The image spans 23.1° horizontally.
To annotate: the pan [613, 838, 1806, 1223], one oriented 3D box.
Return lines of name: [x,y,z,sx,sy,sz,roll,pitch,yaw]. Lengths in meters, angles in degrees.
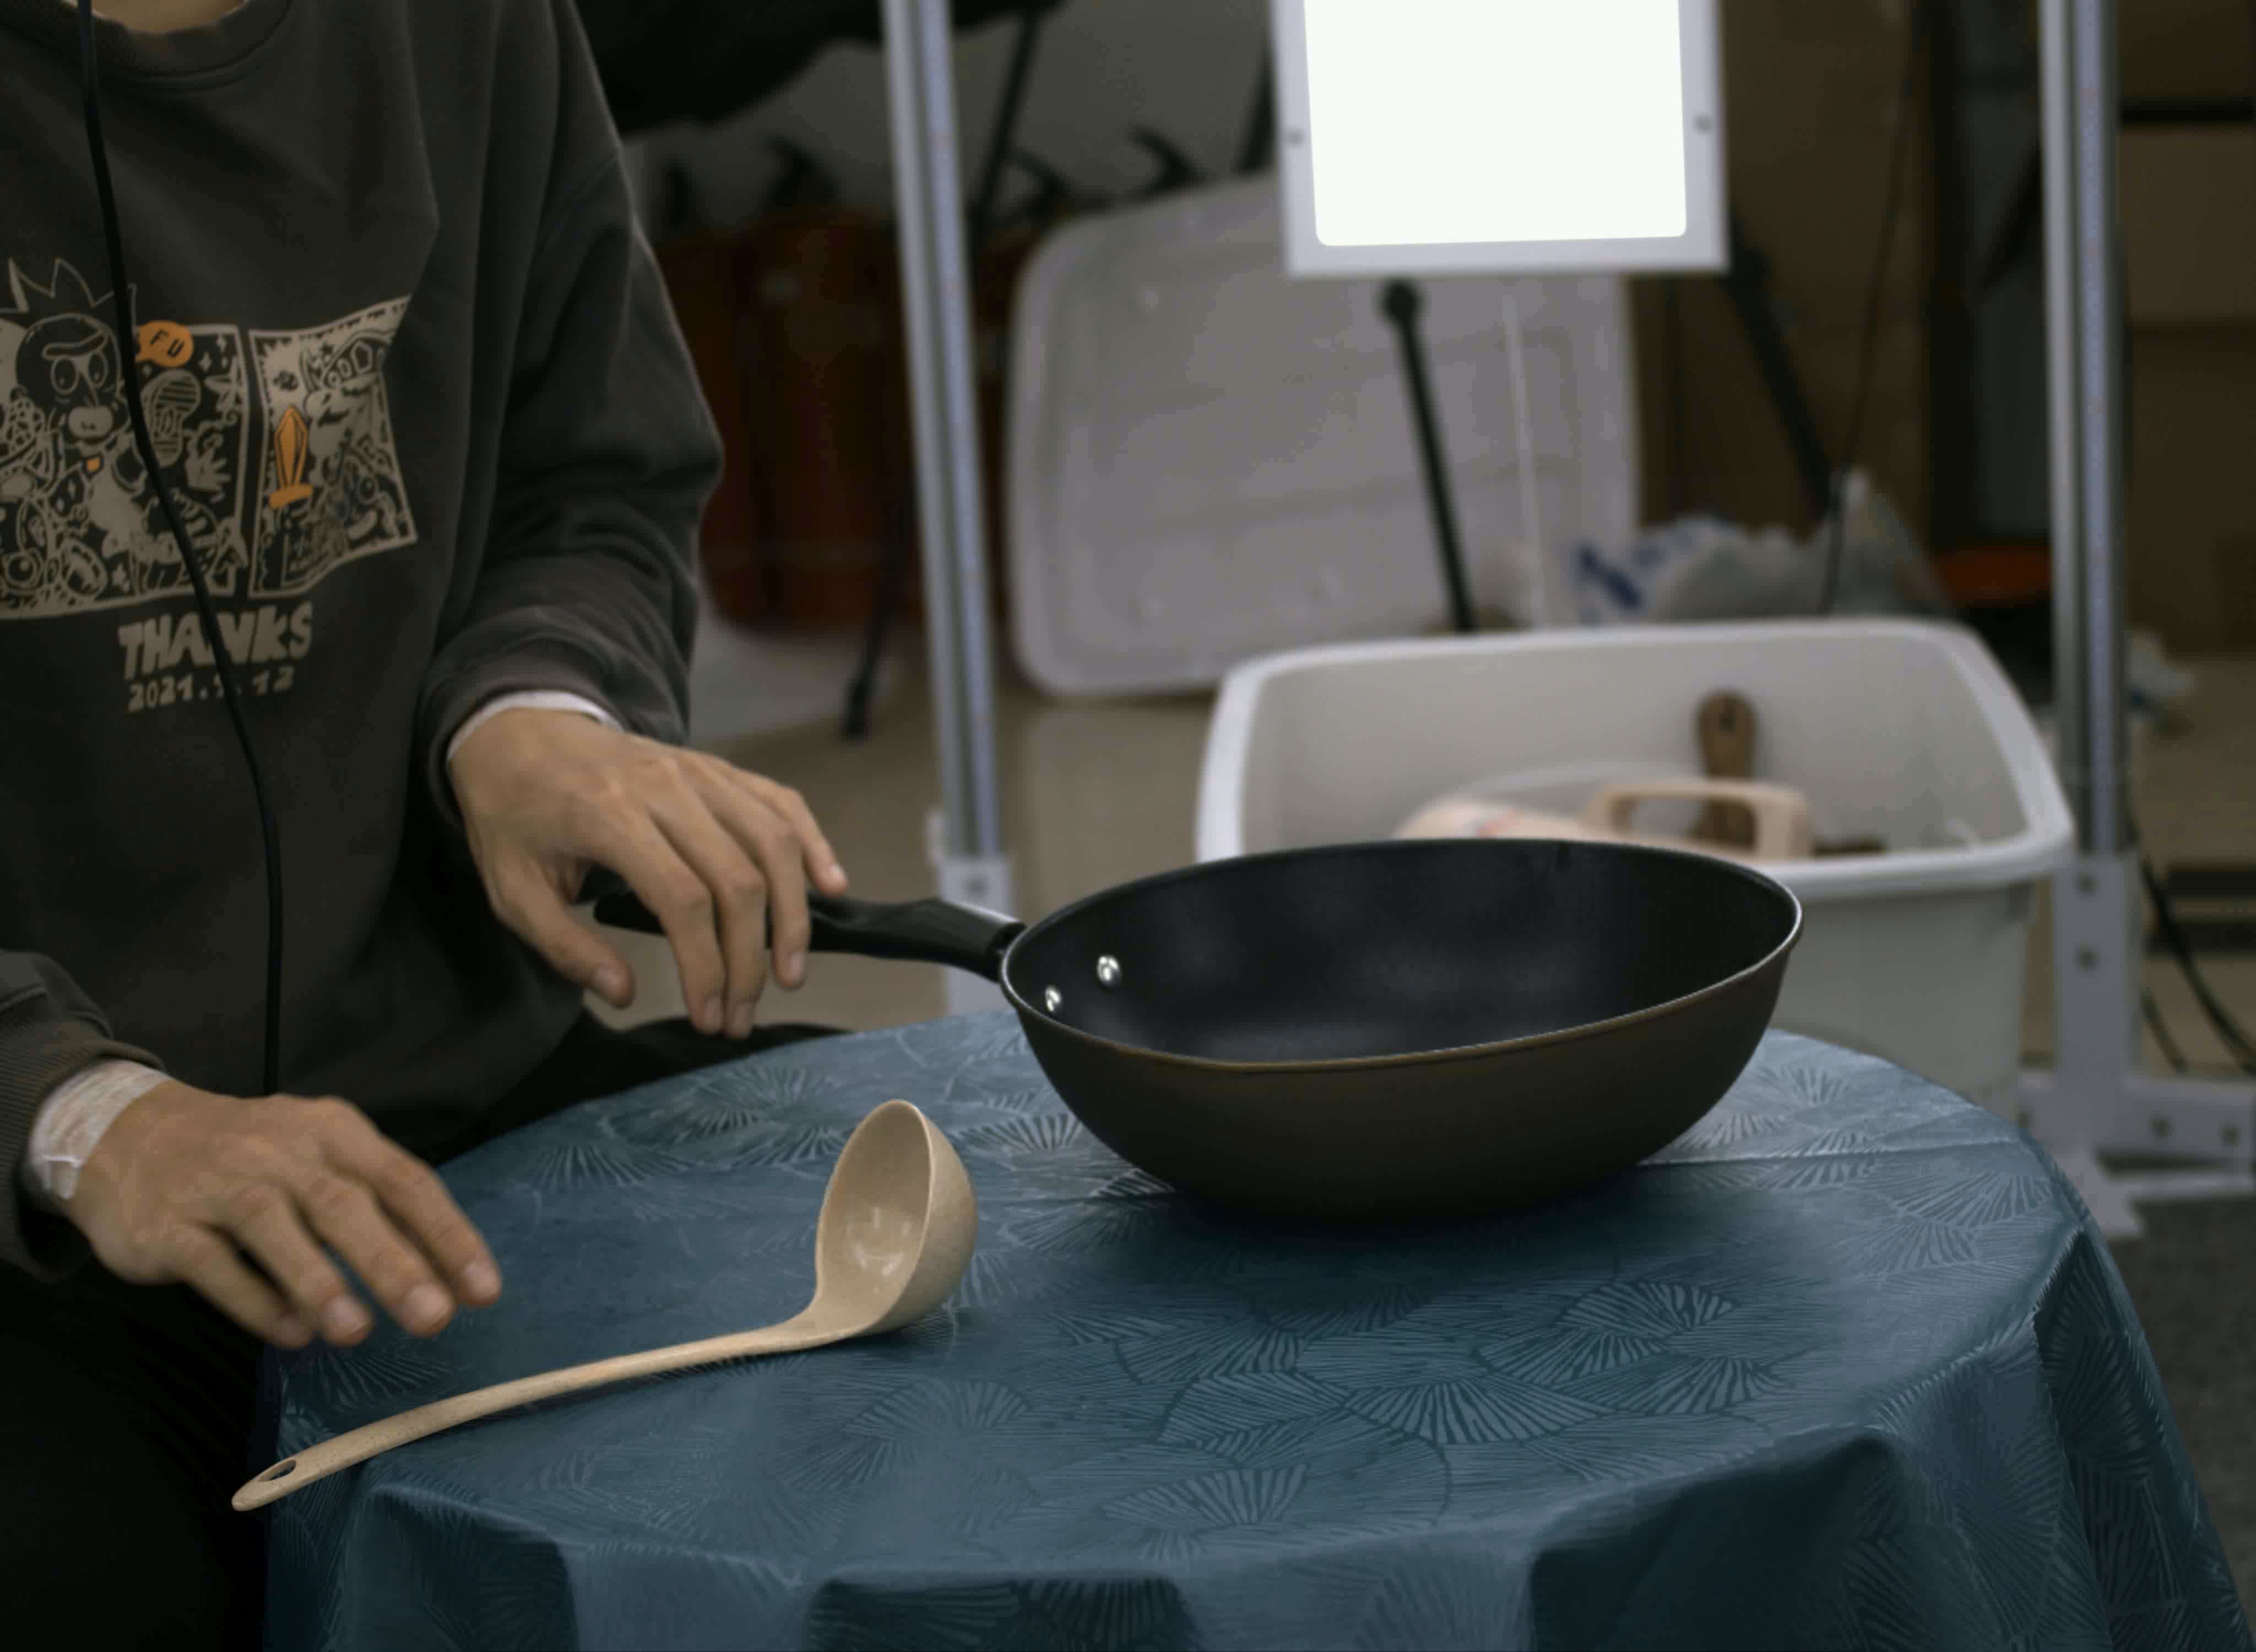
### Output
pan: [0.016,0.072,1.939,0.472,0.087,0.282,1,15,30]

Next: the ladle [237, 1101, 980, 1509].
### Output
ladle: [-0.165,0.147,1.735,0.249,0.073,0.073,-13,20,-26]
